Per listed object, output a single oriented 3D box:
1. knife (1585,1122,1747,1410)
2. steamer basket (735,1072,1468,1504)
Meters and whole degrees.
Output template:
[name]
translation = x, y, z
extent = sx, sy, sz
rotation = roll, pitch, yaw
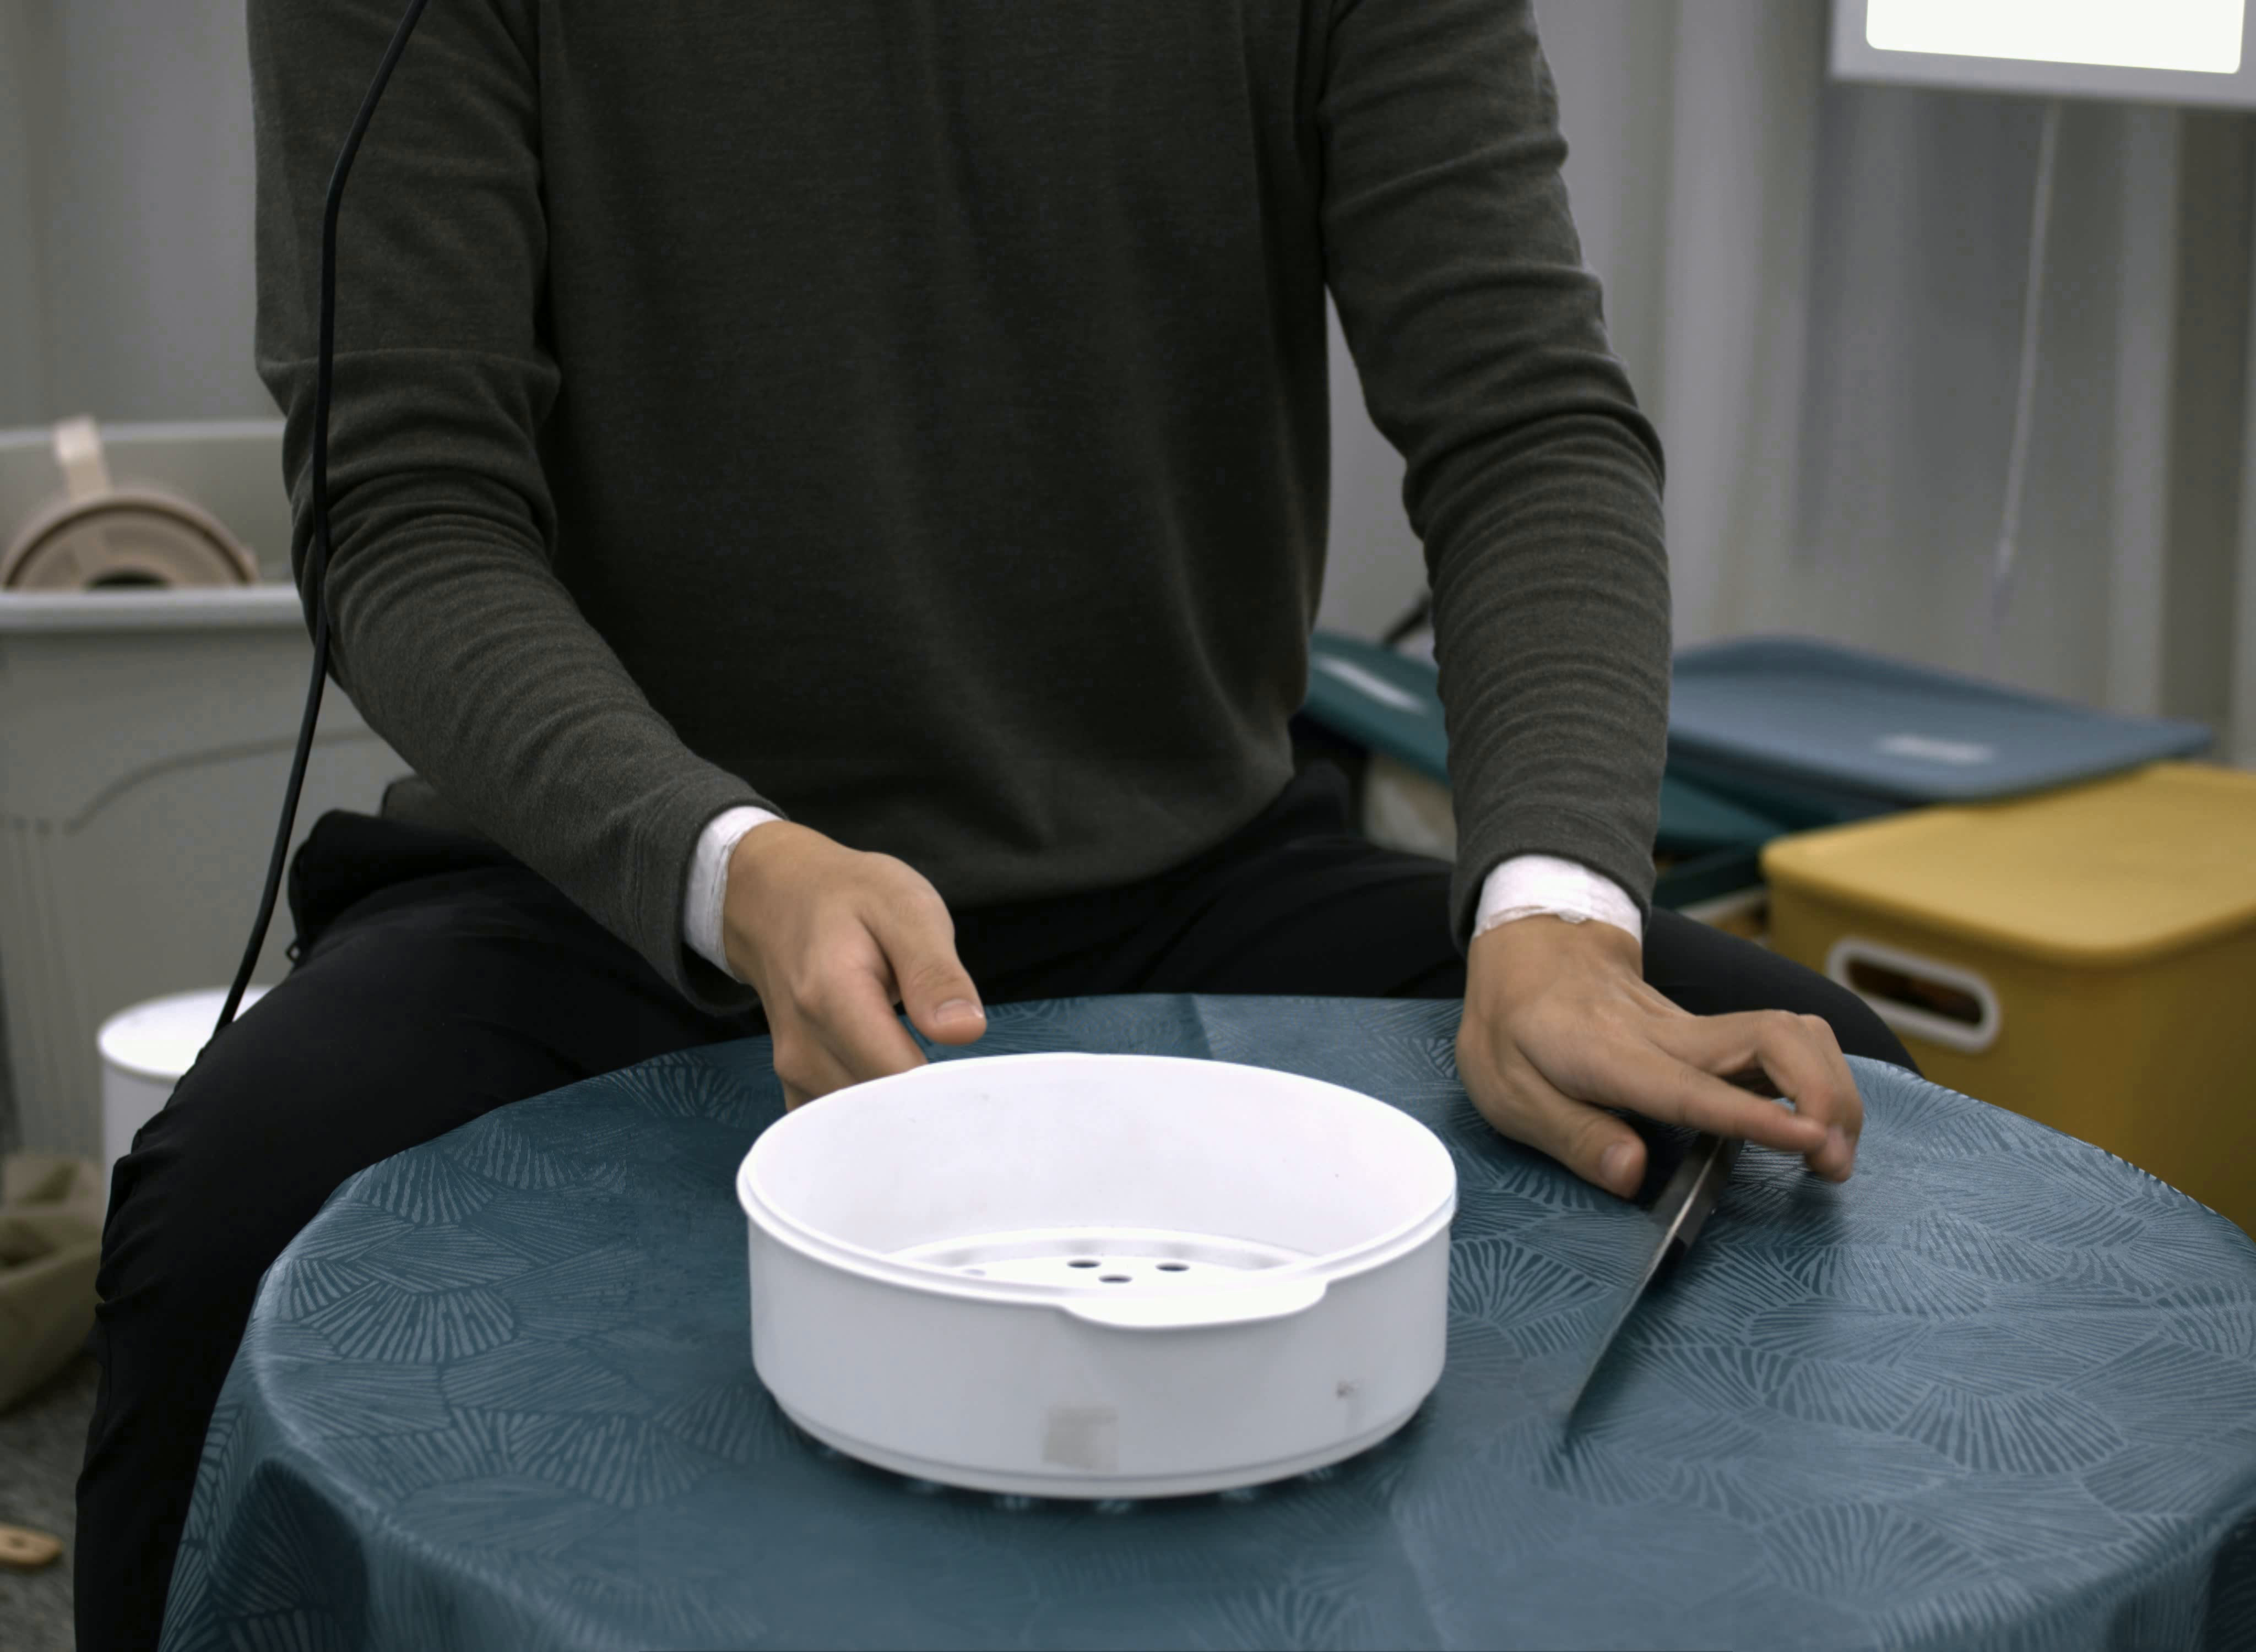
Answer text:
[knife]
translation = 0.154, 0.130, 1.532
extent = 0.016, 0.024, 0.238
rotation = 33, 20, 5
[steamer basket]
translation = -0.007, 0.126, 1.451
extent = 0.202, 0.070, 0.228
rotation = -3, 14, -15
